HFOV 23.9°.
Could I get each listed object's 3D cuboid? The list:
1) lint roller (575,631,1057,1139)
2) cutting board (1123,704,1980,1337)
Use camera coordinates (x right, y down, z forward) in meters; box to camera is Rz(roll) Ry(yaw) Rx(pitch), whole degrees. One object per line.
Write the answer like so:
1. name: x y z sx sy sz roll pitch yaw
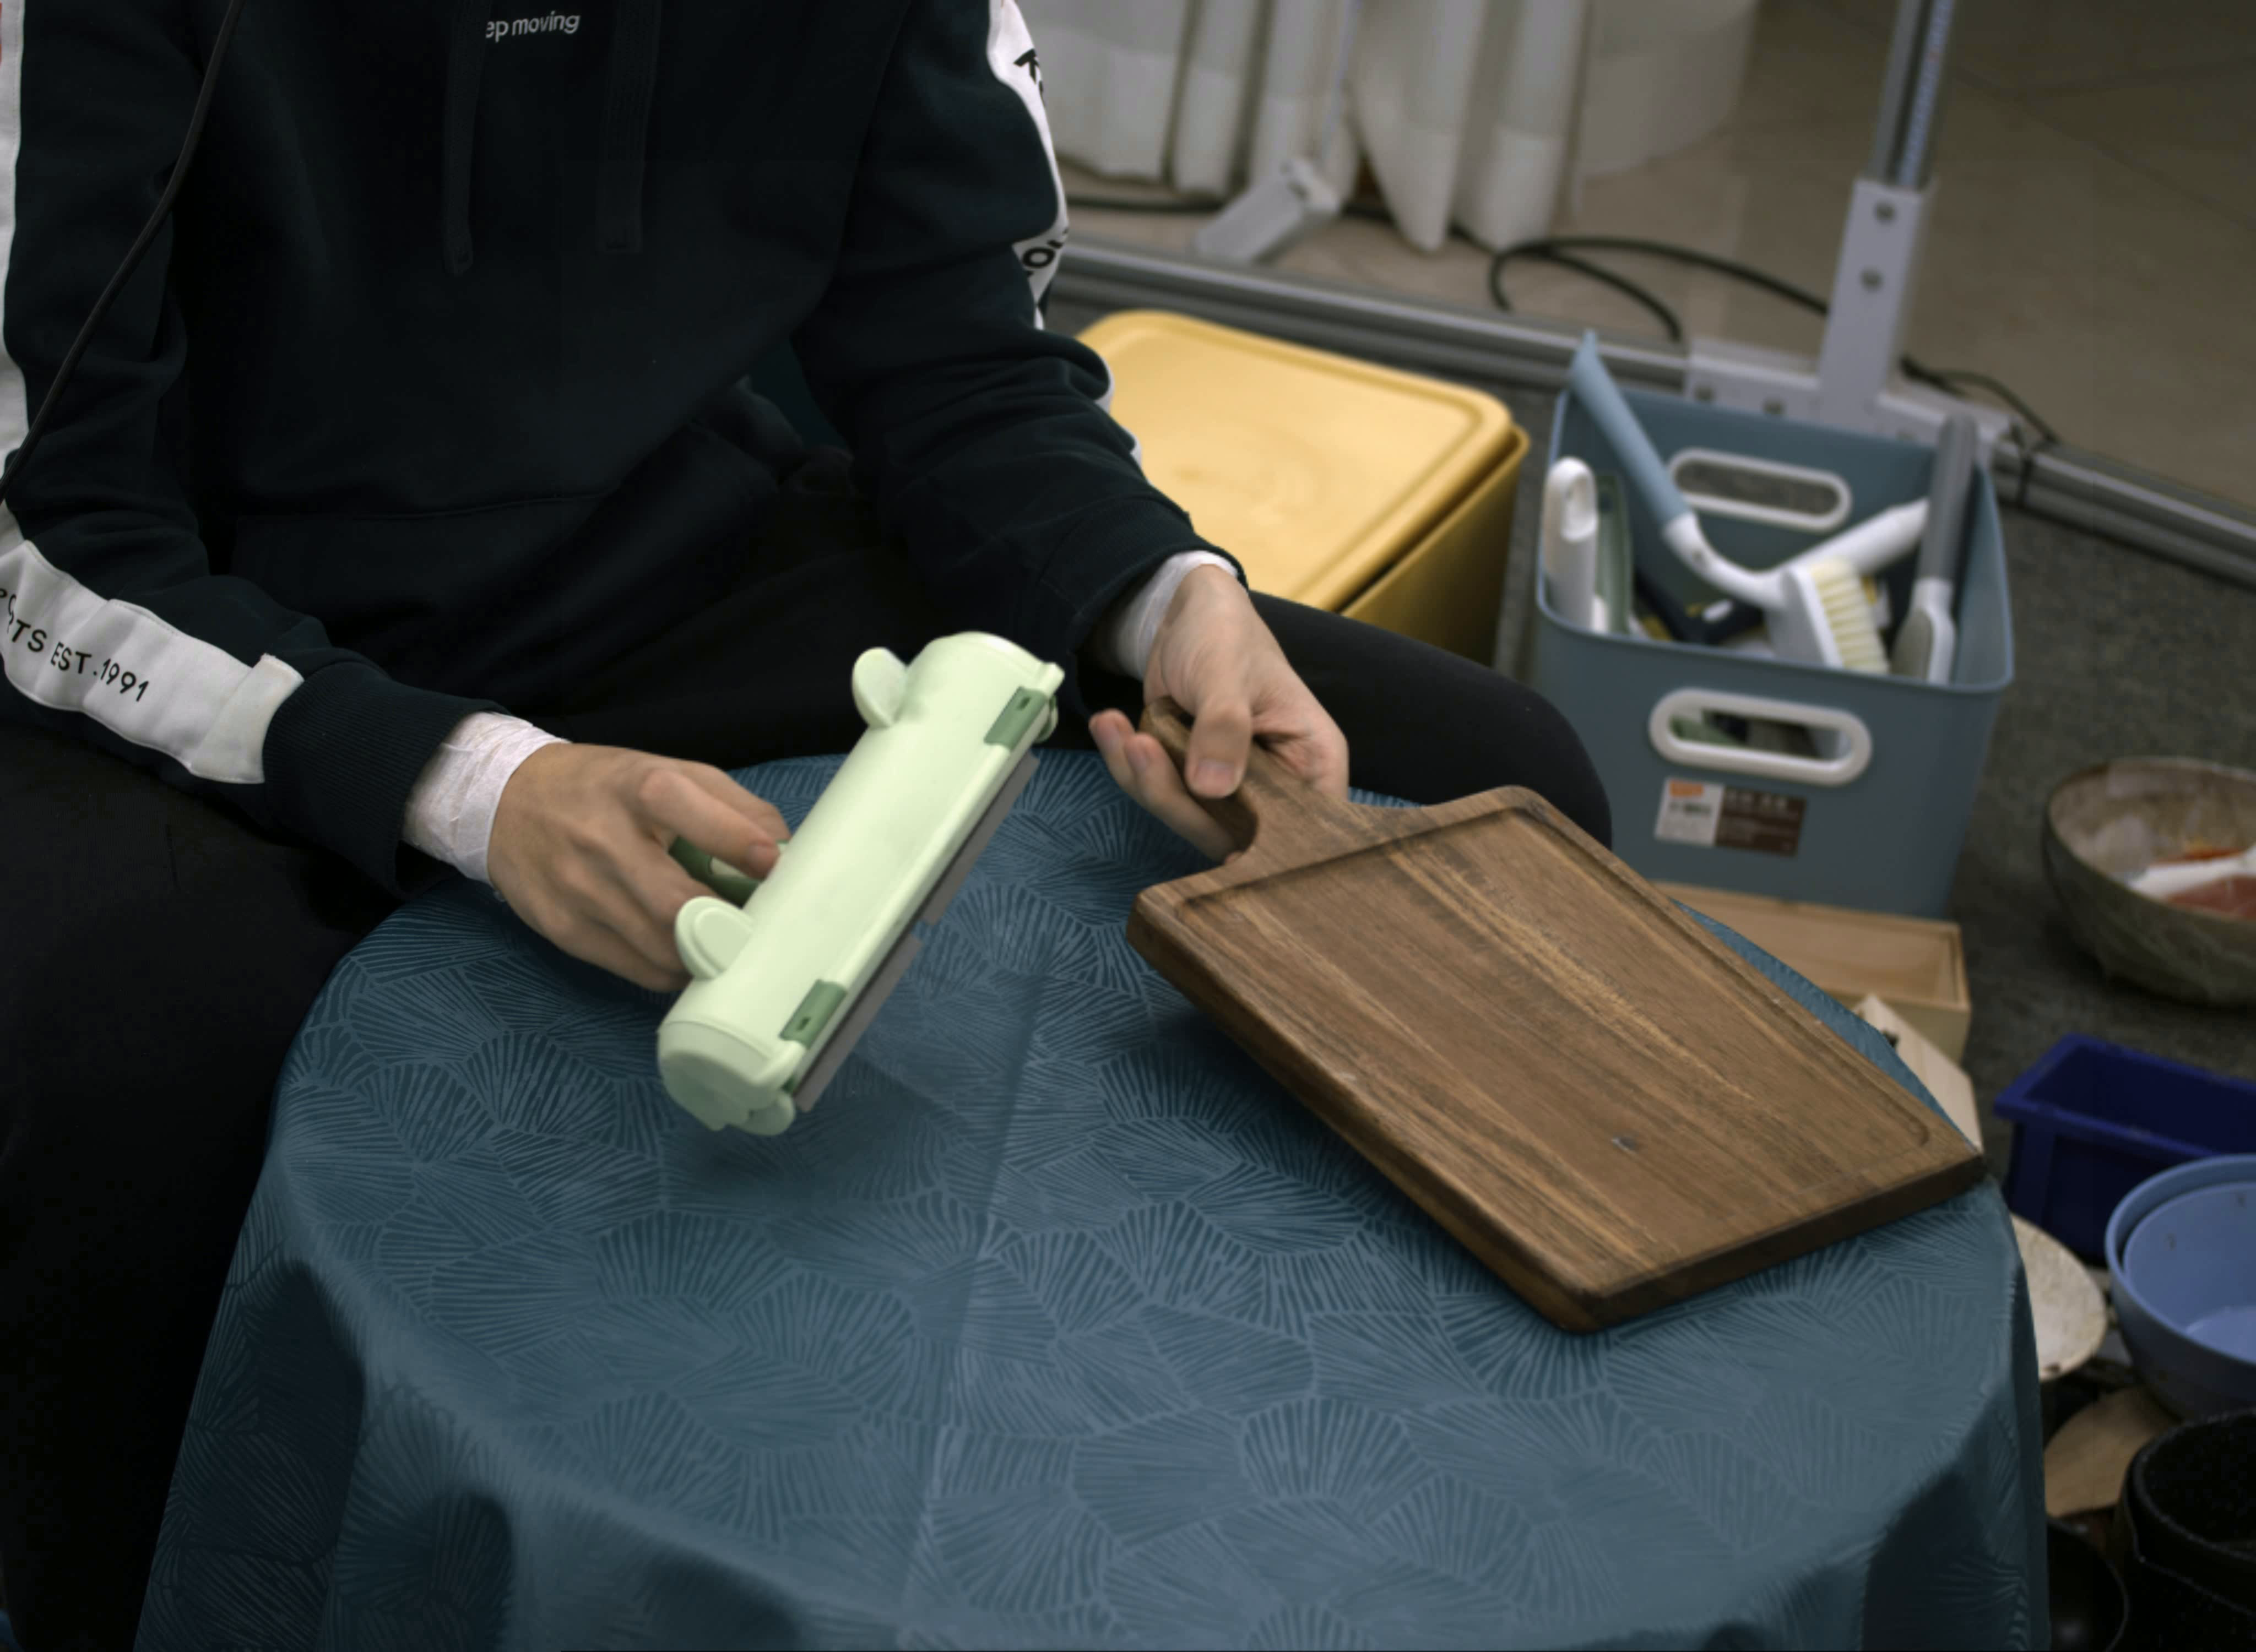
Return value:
1. lint roller: -0.137 0.009 1.830 0.184 0.081 0.199 7 51 39
2. cutting board: 0.117 0.052 1.900 0.200 0.023 0.355 -15 41 -37
